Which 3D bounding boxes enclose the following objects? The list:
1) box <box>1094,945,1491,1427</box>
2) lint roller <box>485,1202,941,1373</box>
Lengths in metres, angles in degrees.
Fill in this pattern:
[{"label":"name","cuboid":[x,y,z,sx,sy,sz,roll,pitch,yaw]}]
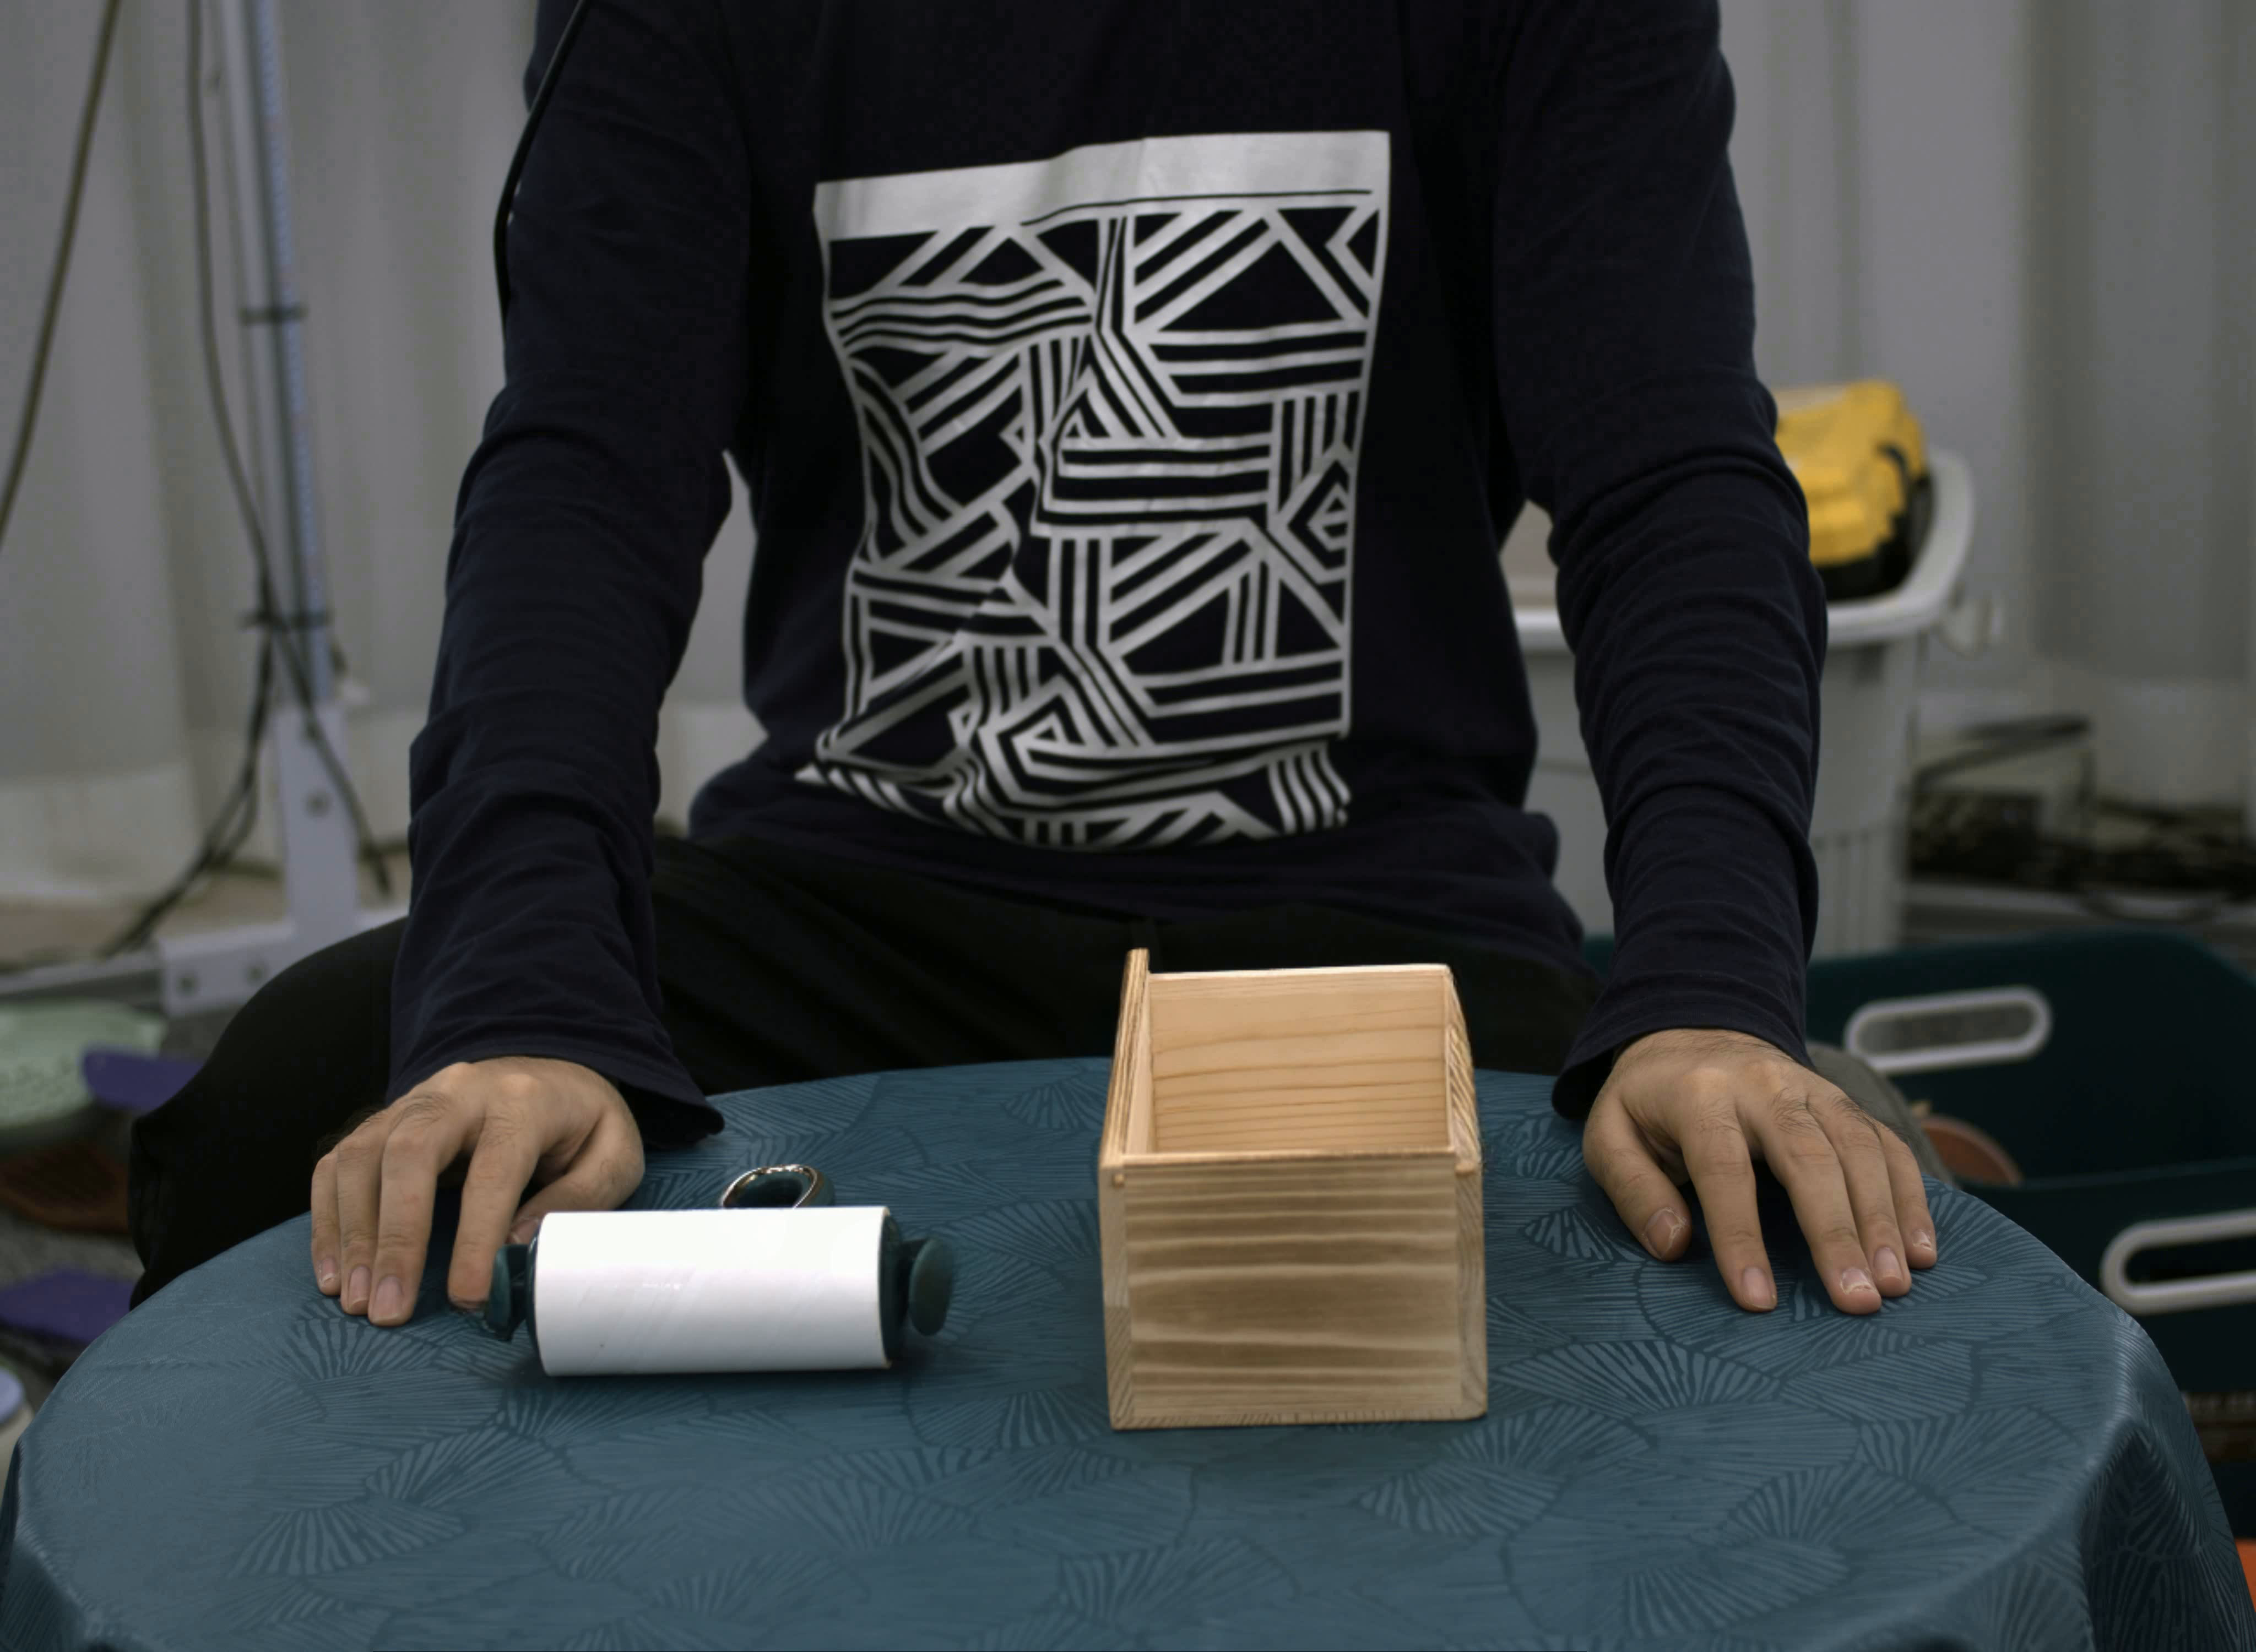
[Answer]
[{"label":"box","cuboid":[0.049,0.102,1.603,0.107,0.080,0.212,-3,13,3]},{"label":"lint roller","cuboid":[-0.115,0.121,1.640,0.134,0.048,0.181,-2,10,4]}]
